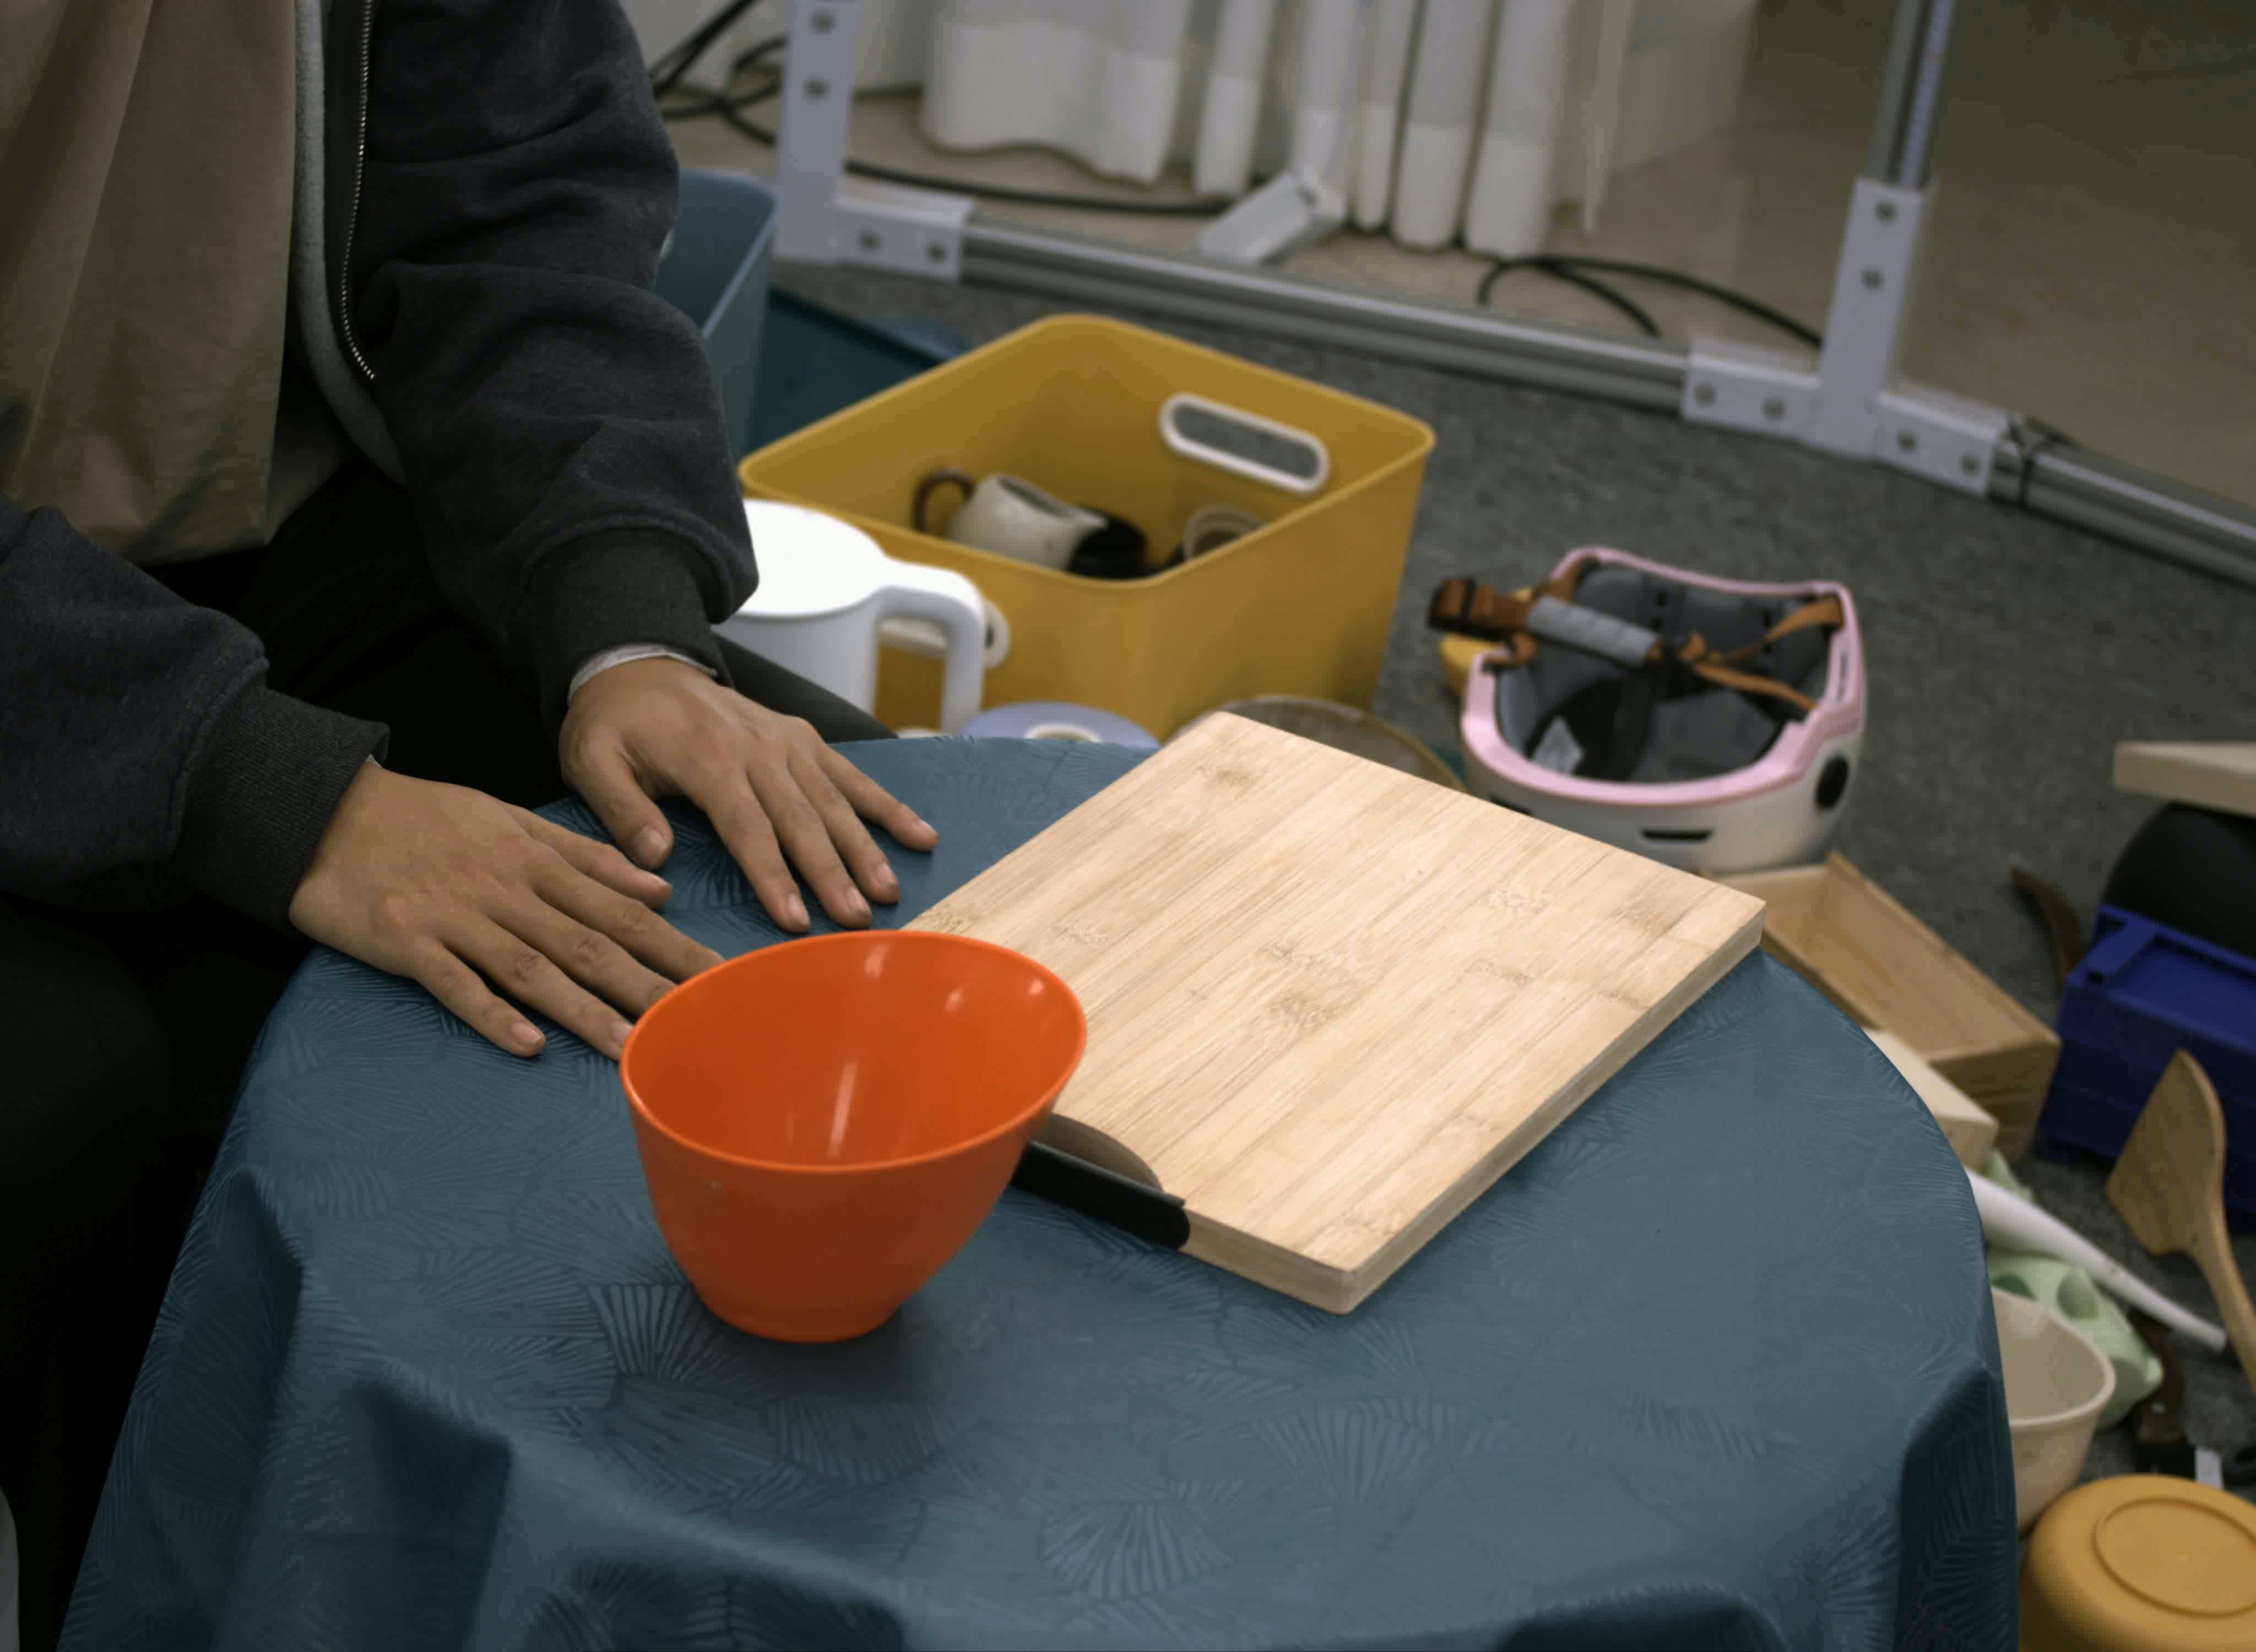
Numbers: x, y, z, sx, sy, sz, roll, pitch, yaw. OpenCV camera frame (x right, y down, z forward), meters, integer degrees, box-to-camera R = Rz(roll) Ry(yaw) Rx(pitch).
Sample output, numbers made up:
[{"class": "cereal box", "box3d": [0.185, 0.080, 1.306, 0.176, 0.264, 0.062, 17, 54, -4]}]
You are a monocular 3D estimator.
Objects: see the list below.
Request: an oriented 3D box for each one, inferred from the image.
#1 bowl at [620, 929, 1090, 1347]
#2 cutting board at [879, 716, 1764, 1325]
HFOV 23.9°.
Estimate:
[{"class": "bowl", "box3d": [-0.091, 0.106, 1.703, 0.147, 0.104, 0.149, 5, 28, -3]}, {"class": "cutting board", "box3d": [0.050, 0.061, 1.918, 0.252, 0.023, 0.348, 19, 29, 24]}]
